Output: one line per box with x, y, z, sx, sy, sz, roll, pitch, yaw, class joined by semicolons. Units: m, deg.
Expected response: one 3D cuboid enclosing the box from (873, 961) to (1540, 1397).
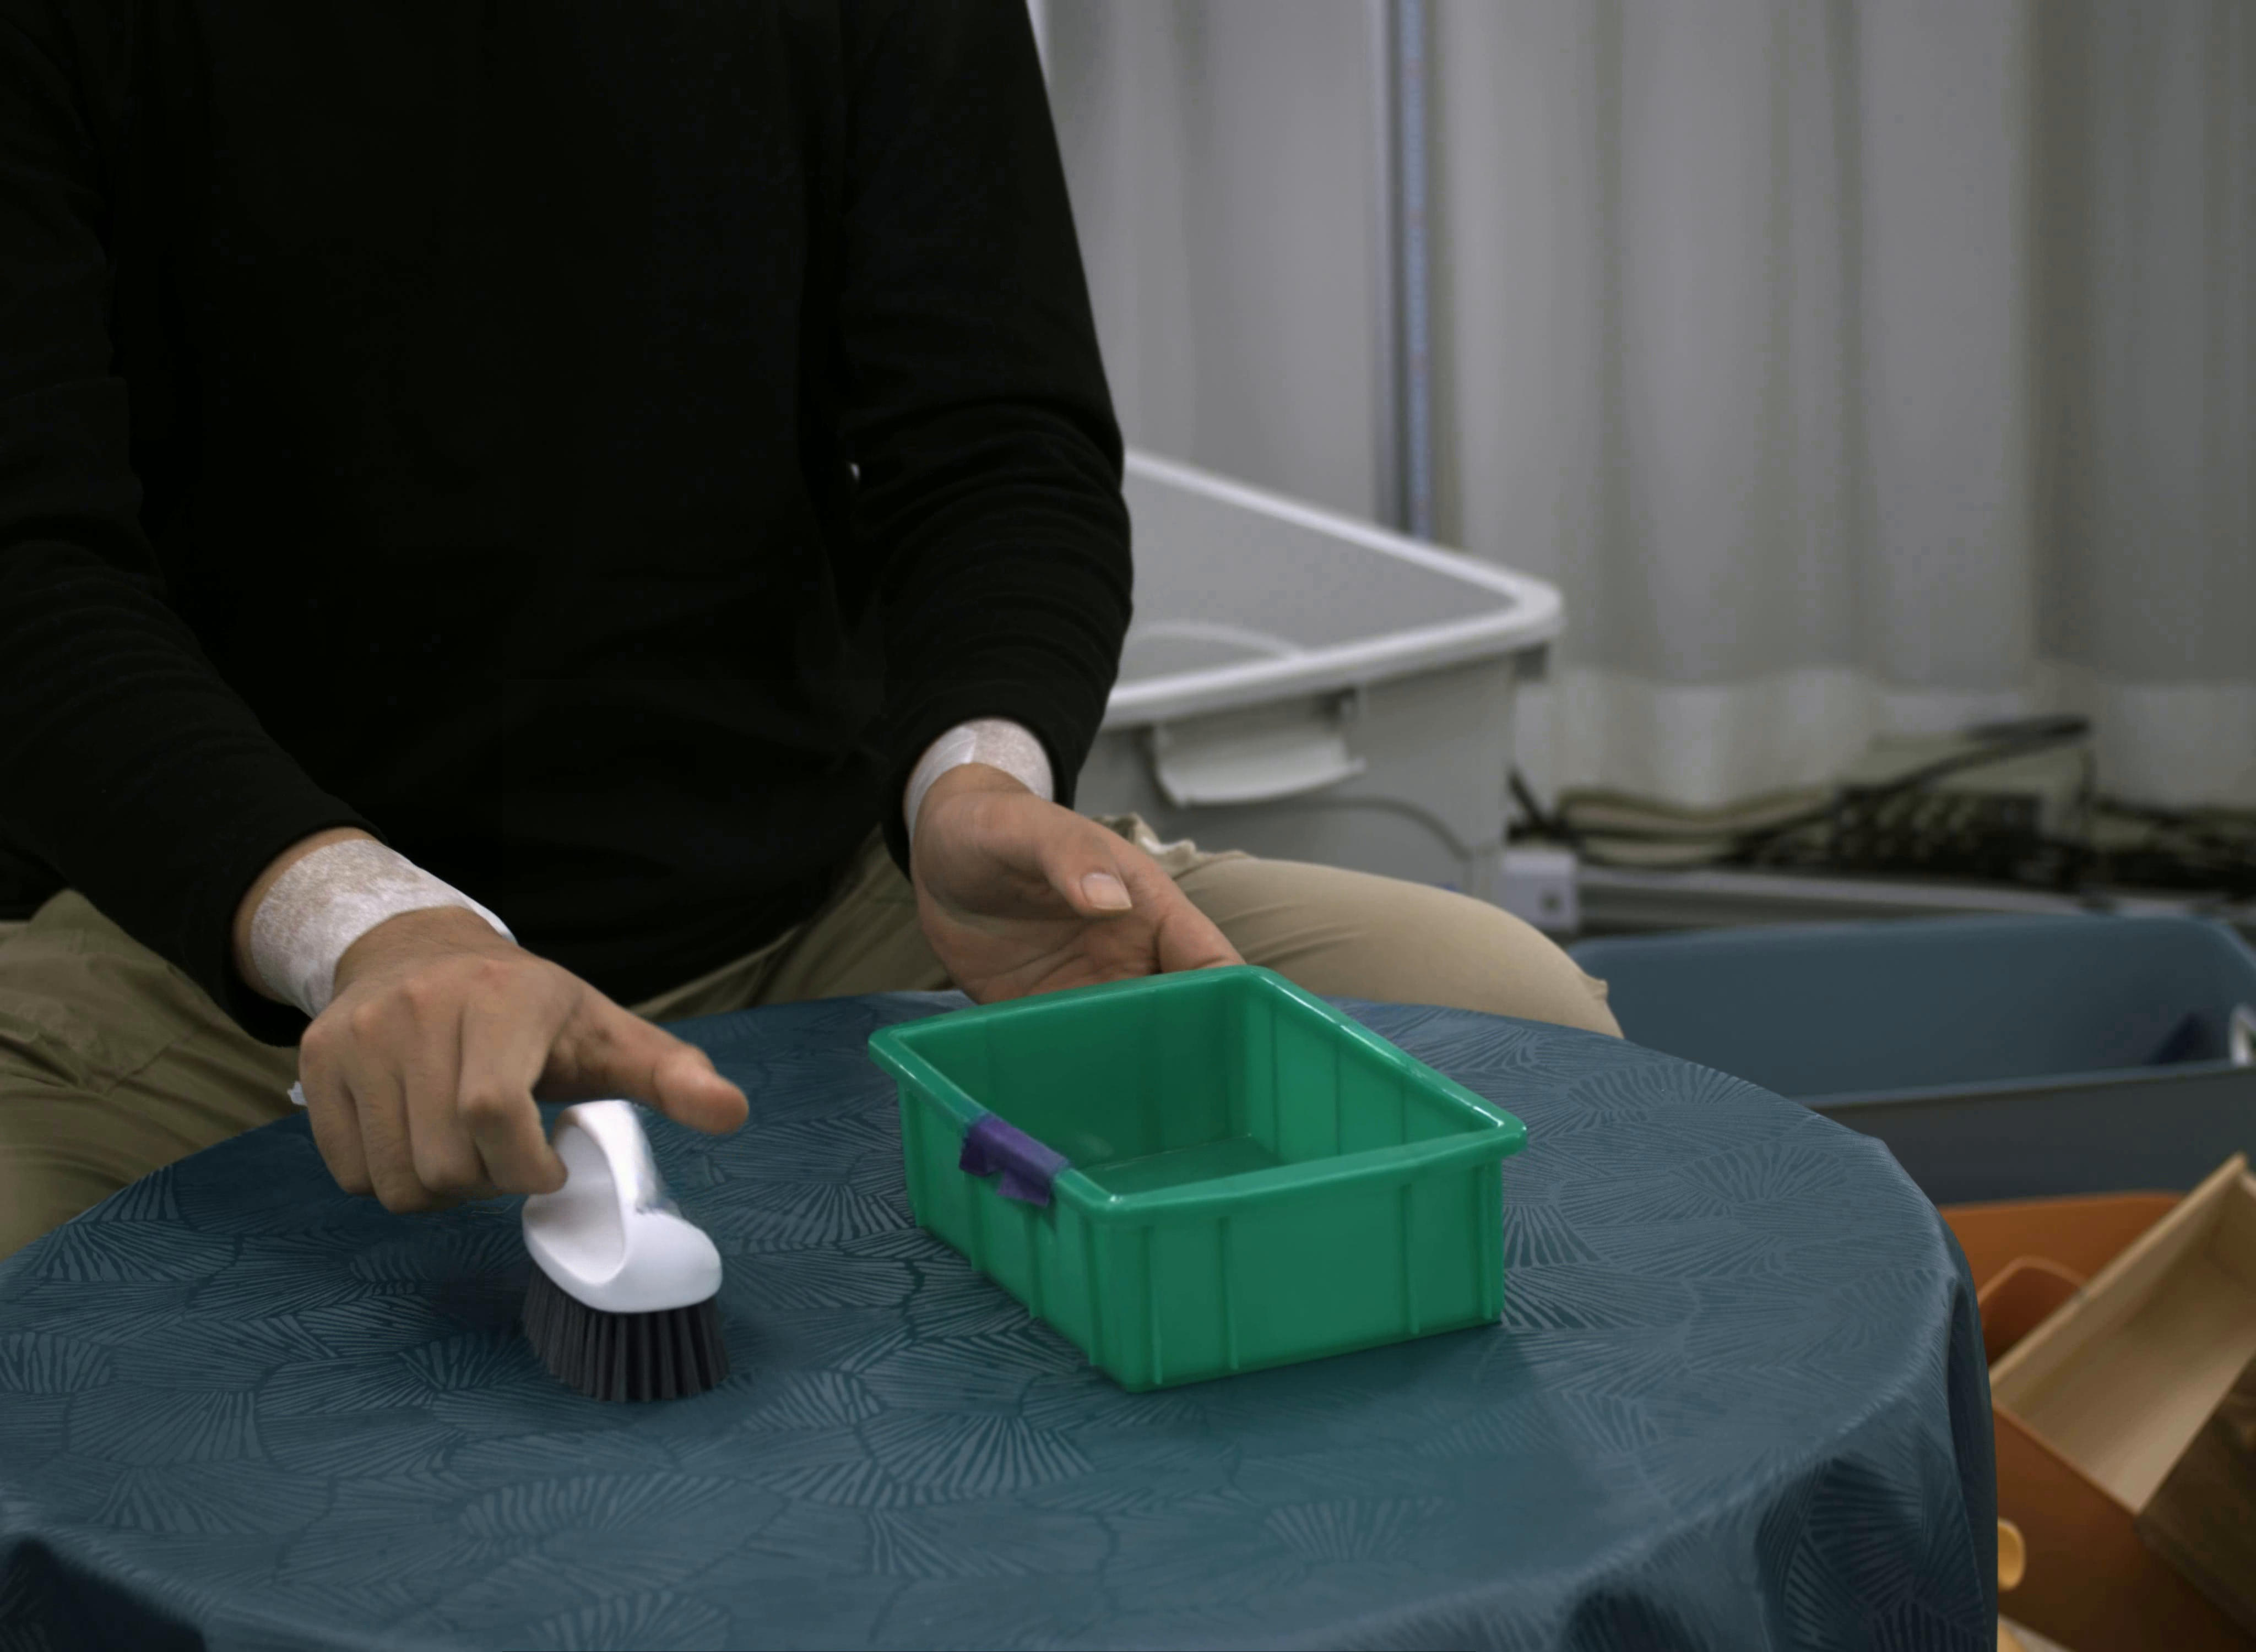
0.021;0.104;1.631;0.138;0.065;0.212;-11;18;-22;box

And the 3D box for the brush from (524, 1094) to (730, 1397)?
-0.148;0.117;1.592;0.050;0.072;0.100;-8;15;-16;brush
